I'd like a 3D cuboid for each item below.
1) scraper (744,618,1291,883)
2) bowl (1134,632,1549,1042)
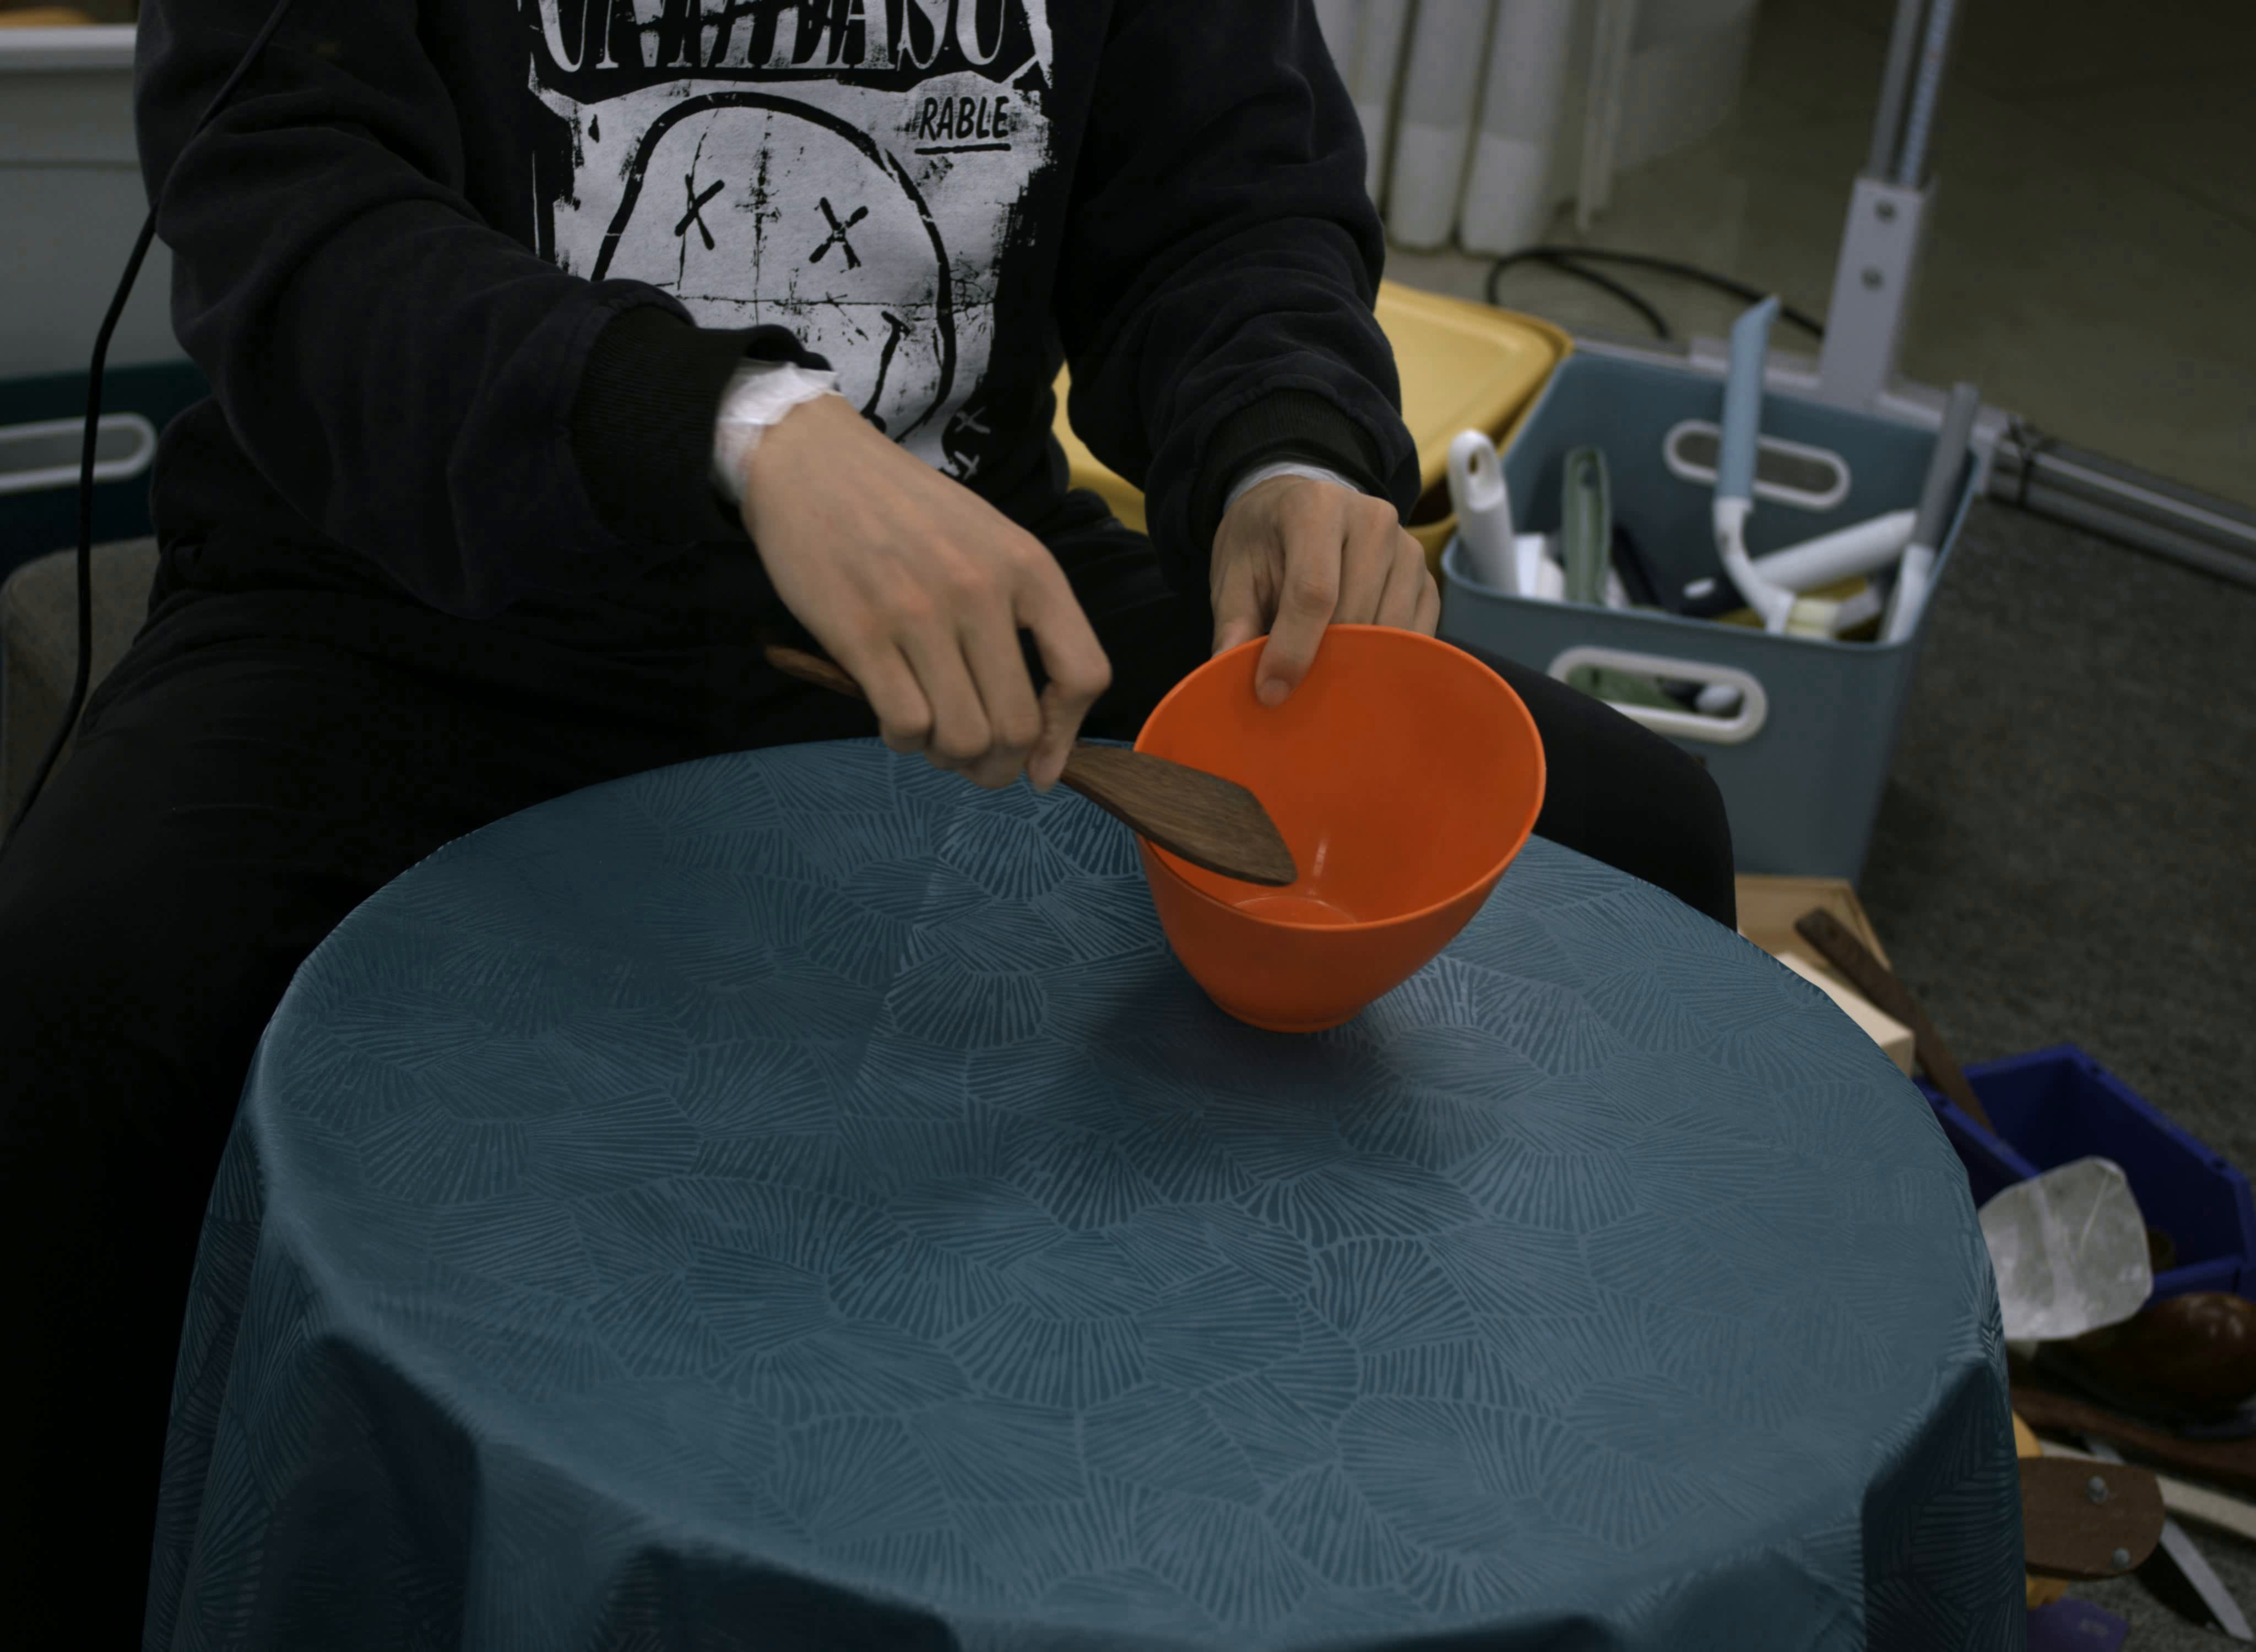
[{"bbox_3d":[-0.038,-0.029,1.816,0.209,0.011,0.076,22,21,-25],"label":"scraper"},{"bbox_3d":[0.072,0.014,1.906,0.147,0.104,0.149,3,41,-3],"label":"bowl"}]
